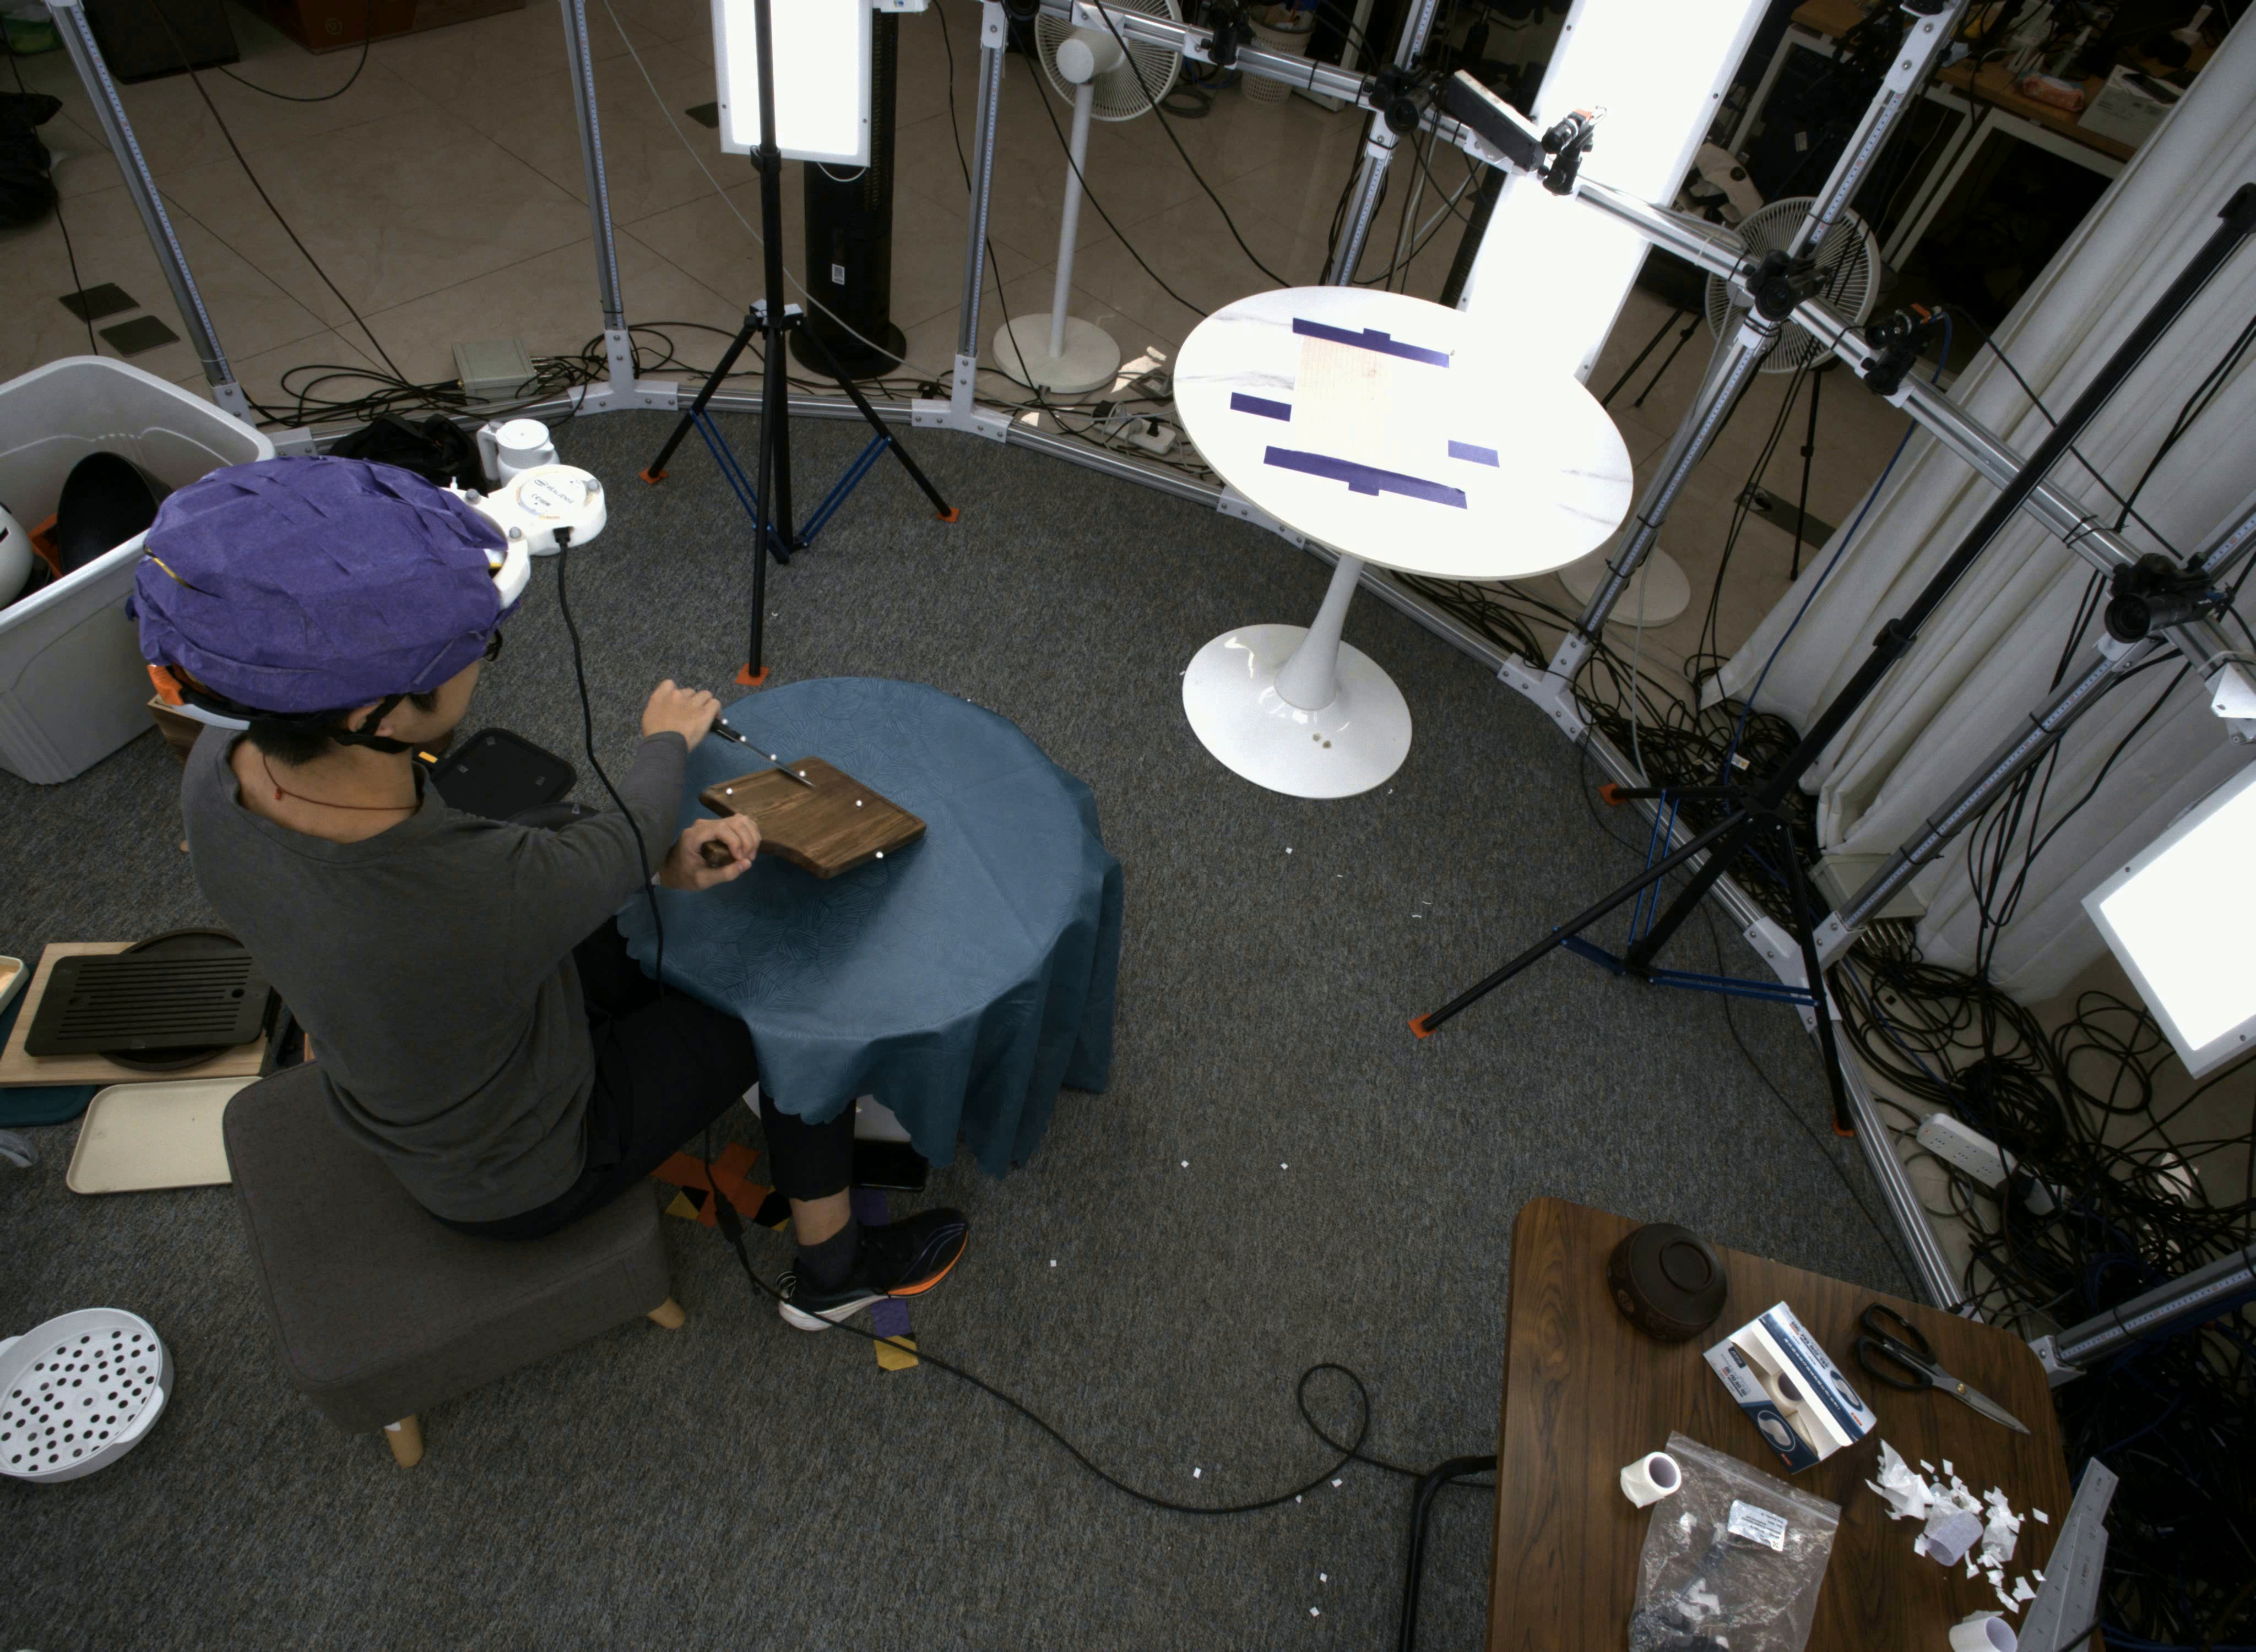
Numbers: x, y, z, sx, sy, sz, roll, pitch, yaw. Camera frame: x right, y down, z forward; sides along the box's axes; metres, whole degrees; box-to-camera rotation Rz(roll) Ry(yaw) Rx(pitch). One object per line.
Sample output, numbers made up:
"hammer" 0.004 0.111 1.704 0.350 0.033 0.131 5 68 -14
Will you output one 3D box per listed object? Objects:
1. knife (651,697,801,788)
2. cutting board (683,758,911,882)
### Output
"knife" -0.533 -0.109 1.699 0.237 0.016 0.024 30 15 0
"cutting board" -0.431 -0.004 1.609 0.198 0.023 0.353 30 21 10
